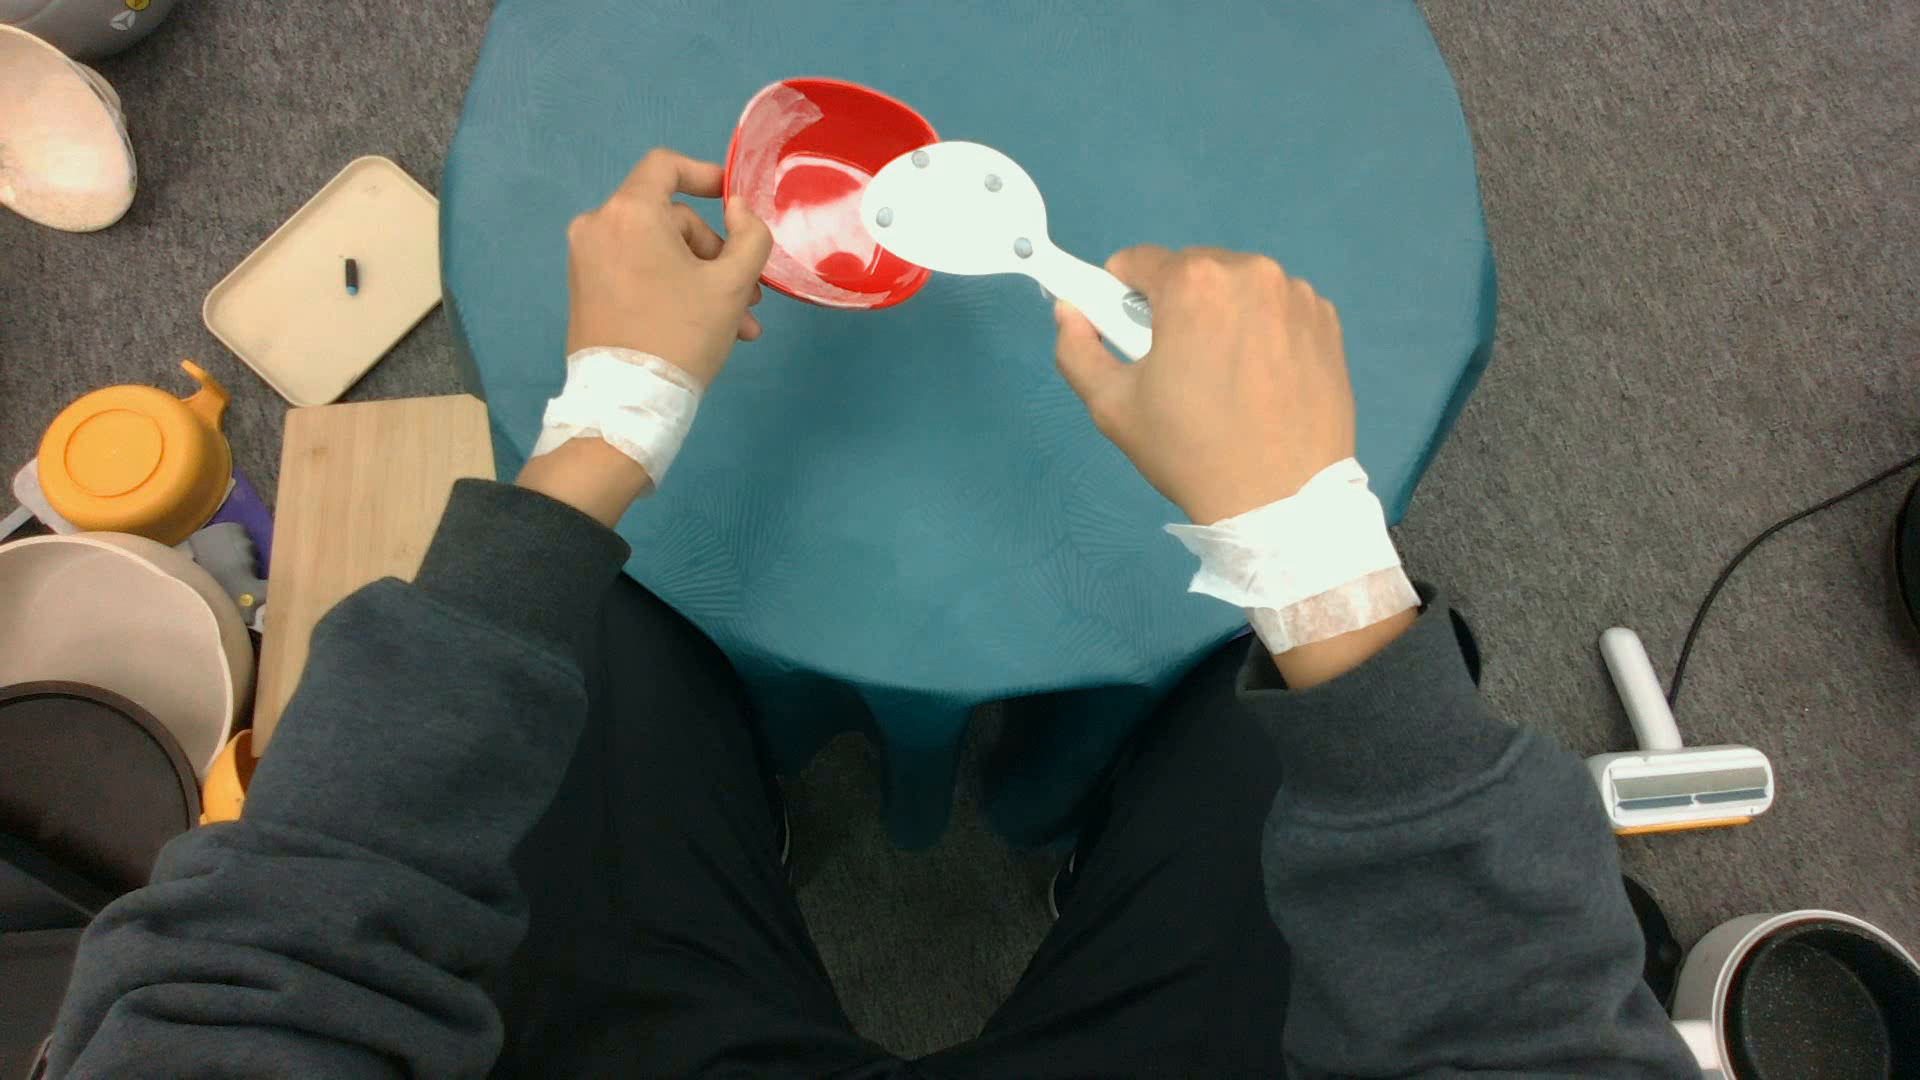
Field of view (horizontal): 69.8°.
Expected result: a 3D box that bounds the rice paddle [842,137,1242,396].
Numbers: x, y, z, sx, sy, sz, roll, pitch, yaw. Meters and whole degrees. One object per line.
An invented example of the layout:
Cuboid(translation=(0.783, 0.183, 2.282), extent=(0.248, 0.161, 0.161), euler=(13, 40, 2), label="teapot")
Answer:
Cuboid(translation=(0.026, -0.120, 0.564), extent=(0.069, 0.029, 0.205), euler=(-43, 57, -16), label="rice paddle")

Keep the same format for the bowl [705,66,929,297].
Cuboid(translation=(-0.073, -0.171, 0.685), extent=(0.119, 0.051, 0.119), euler=(1, 85, -17), label="bowl")
